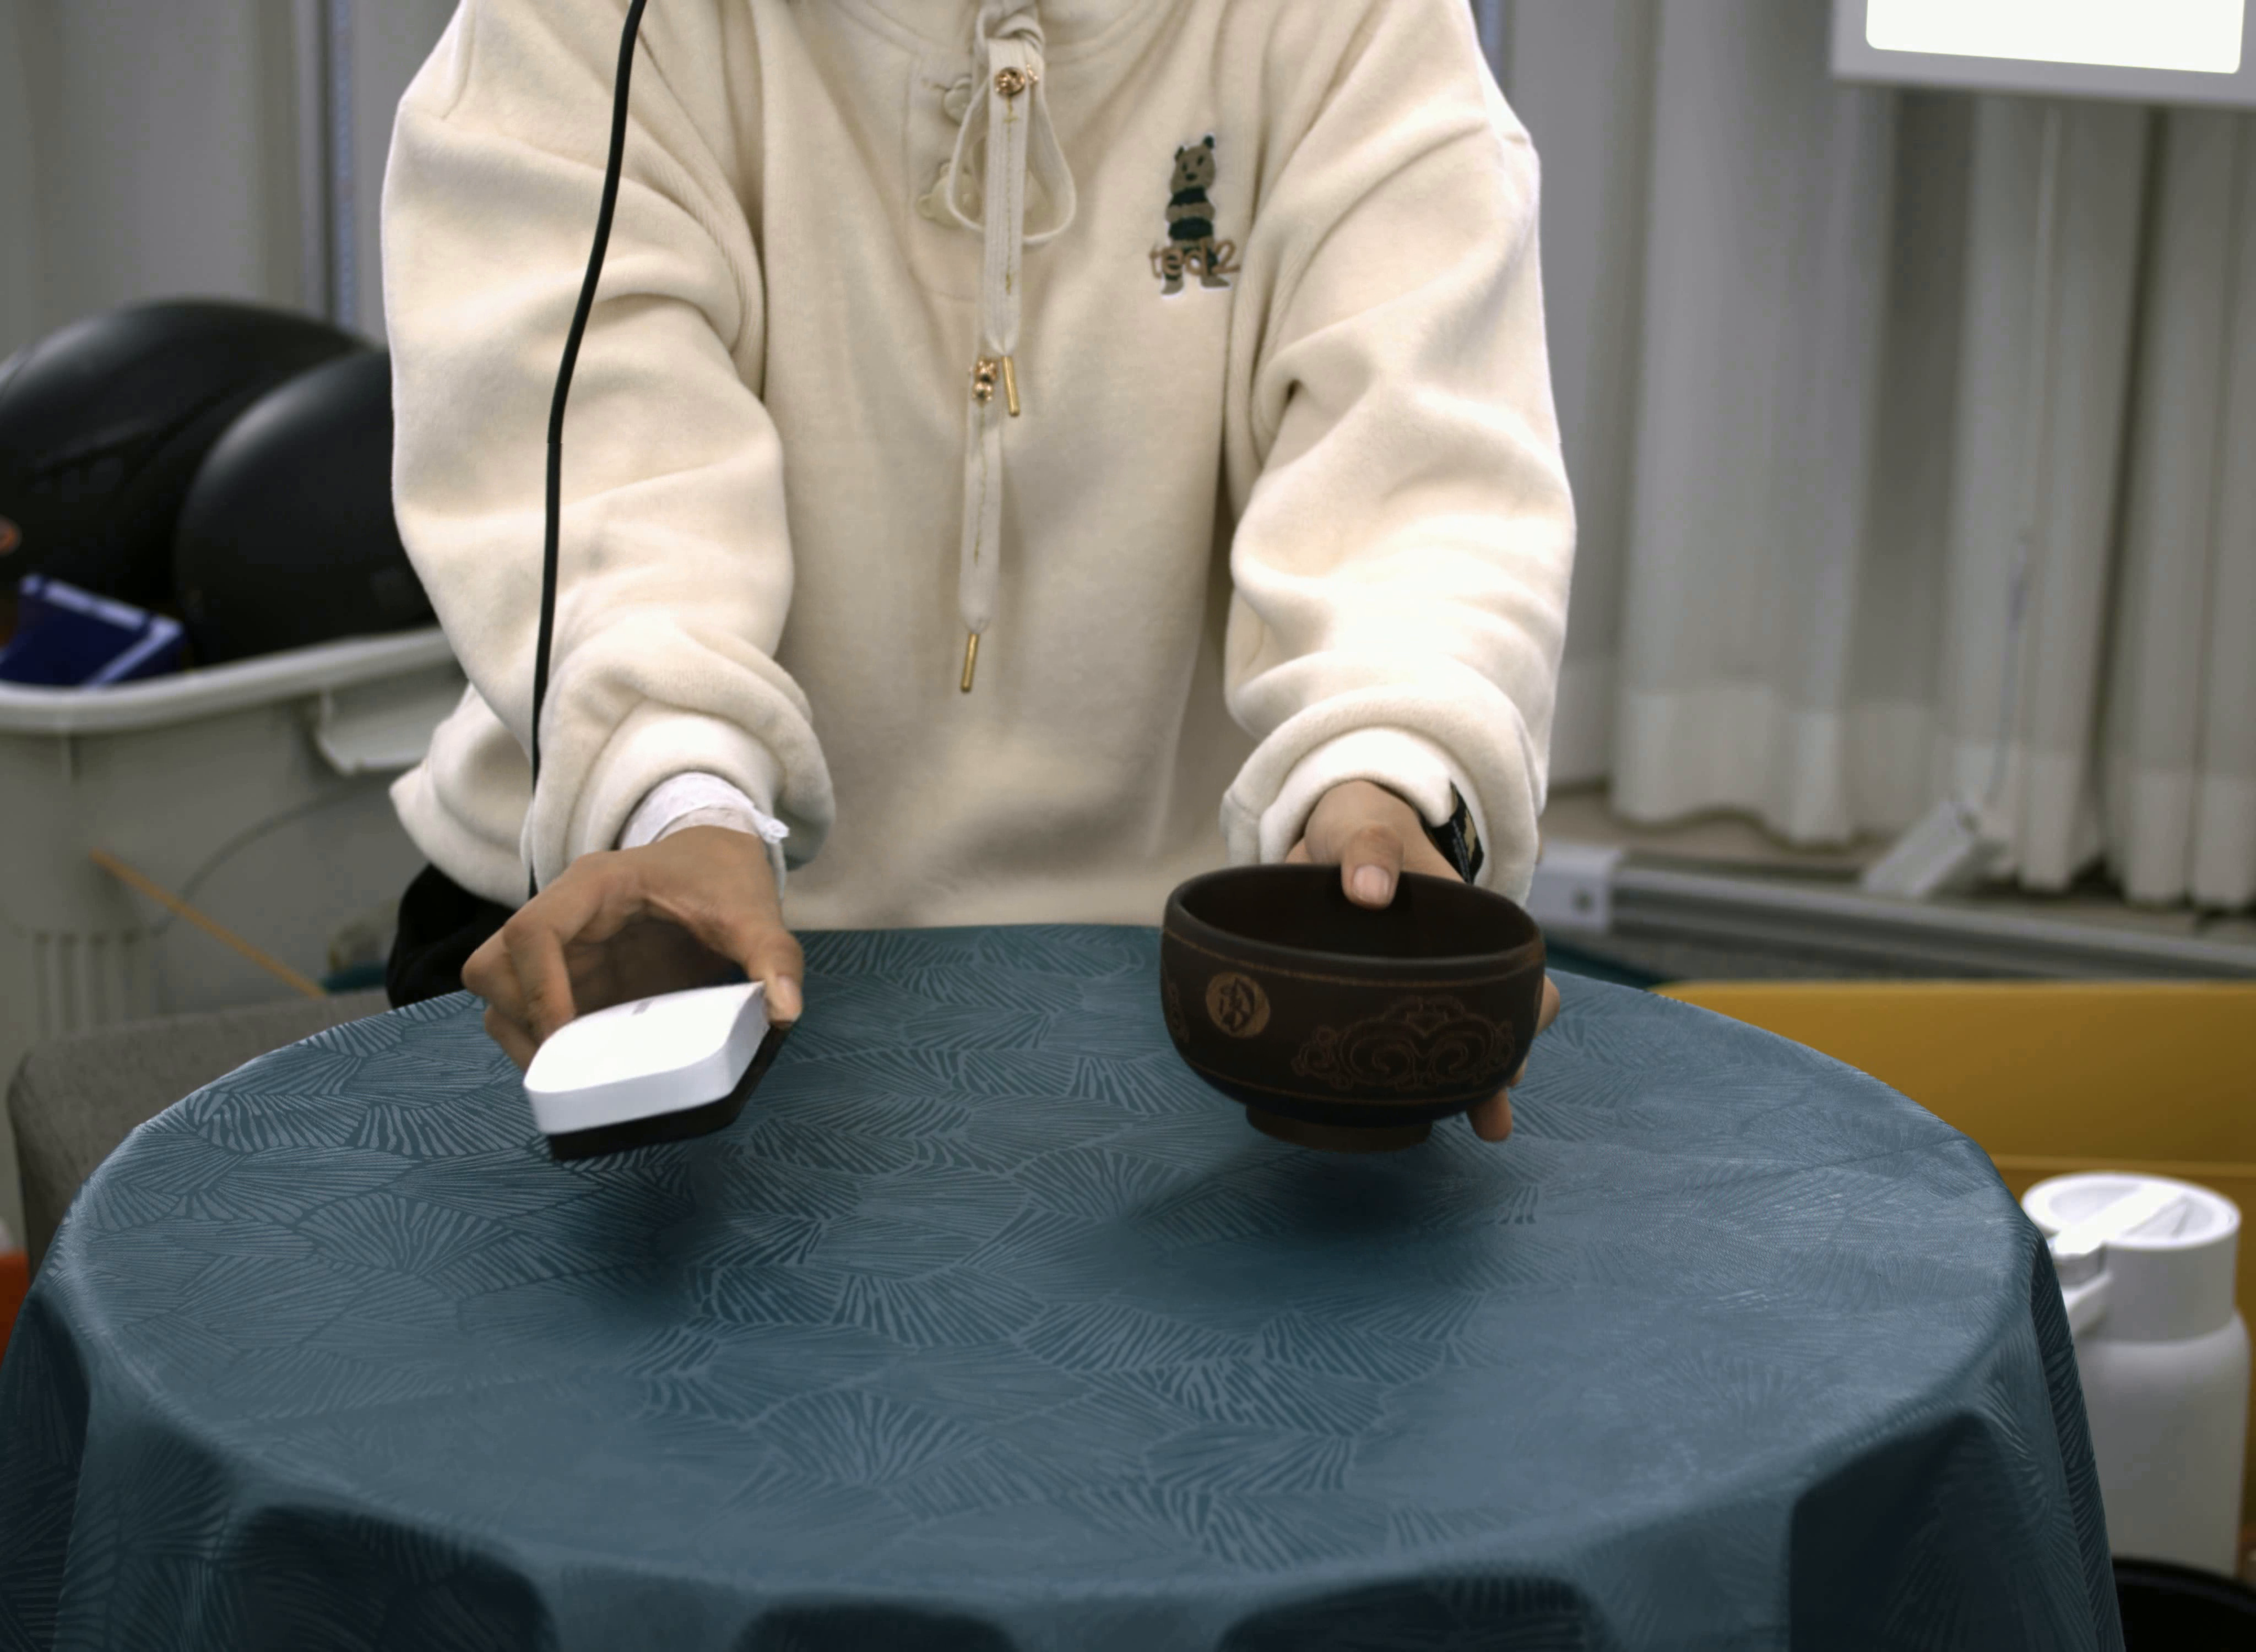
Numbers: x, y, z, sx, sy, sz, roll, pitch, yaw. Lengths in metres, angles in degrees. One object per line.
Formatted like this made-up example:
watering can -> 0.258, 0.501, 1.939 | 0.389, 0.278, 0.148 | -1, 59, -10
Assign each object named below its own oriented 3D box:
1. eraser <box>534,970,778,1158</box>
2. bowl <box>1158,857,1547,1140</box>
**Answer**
eraser -> -0.138, 0.068, 1.574 | 0.063, 0.035, 0.131 | -11, 7, 4
bowl -> 0.067, 0.055, 1.605 | 0.117, 0.070, 0.117 | 5, 11, -1
